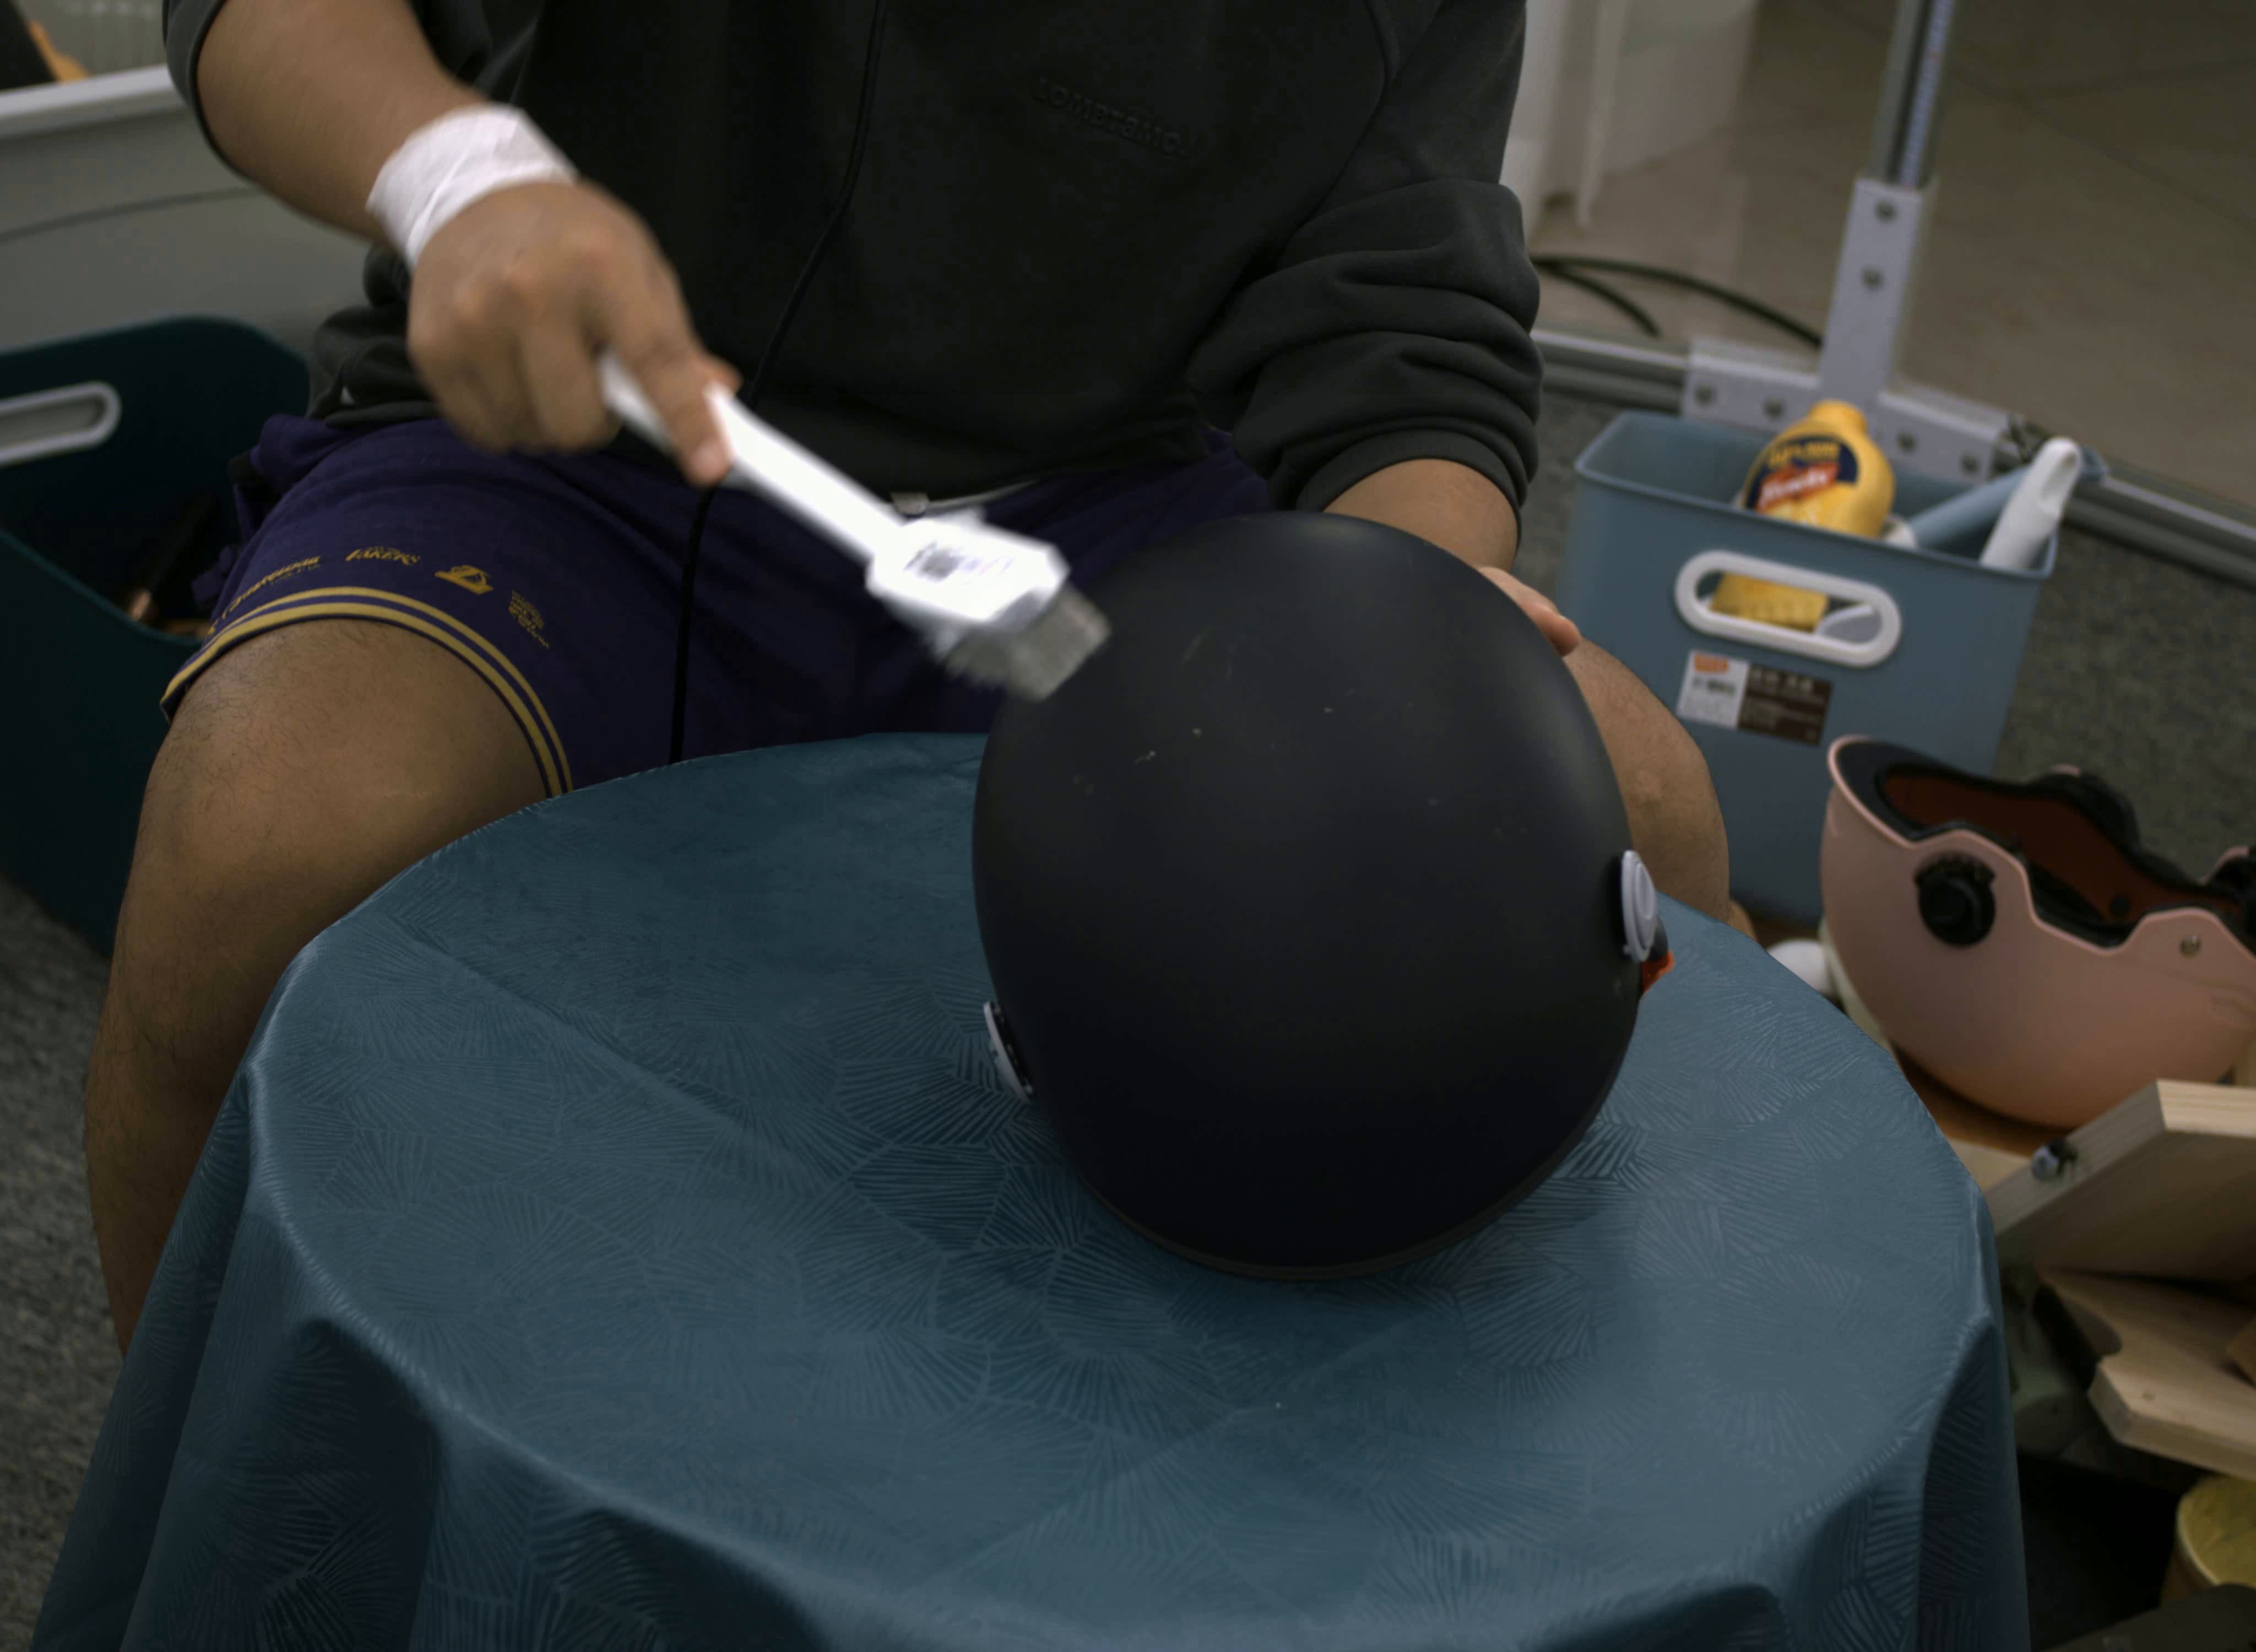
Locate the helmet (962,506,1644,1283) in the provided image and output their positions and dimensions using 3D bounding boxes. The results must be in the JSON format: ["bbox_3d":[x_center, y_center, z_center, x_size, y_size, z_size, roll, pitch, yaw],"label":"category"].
[{"bbox_3d":[0.049,0.001,1.778,0.230,0.165,0.275,-12,48,11],"label":"helmet"}]

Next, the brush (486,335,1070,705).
[{"bbox_3d":[-0.114,-0.097,1.687,0.245,0.050,0.034,28,67,36],"label":"brush"}]
